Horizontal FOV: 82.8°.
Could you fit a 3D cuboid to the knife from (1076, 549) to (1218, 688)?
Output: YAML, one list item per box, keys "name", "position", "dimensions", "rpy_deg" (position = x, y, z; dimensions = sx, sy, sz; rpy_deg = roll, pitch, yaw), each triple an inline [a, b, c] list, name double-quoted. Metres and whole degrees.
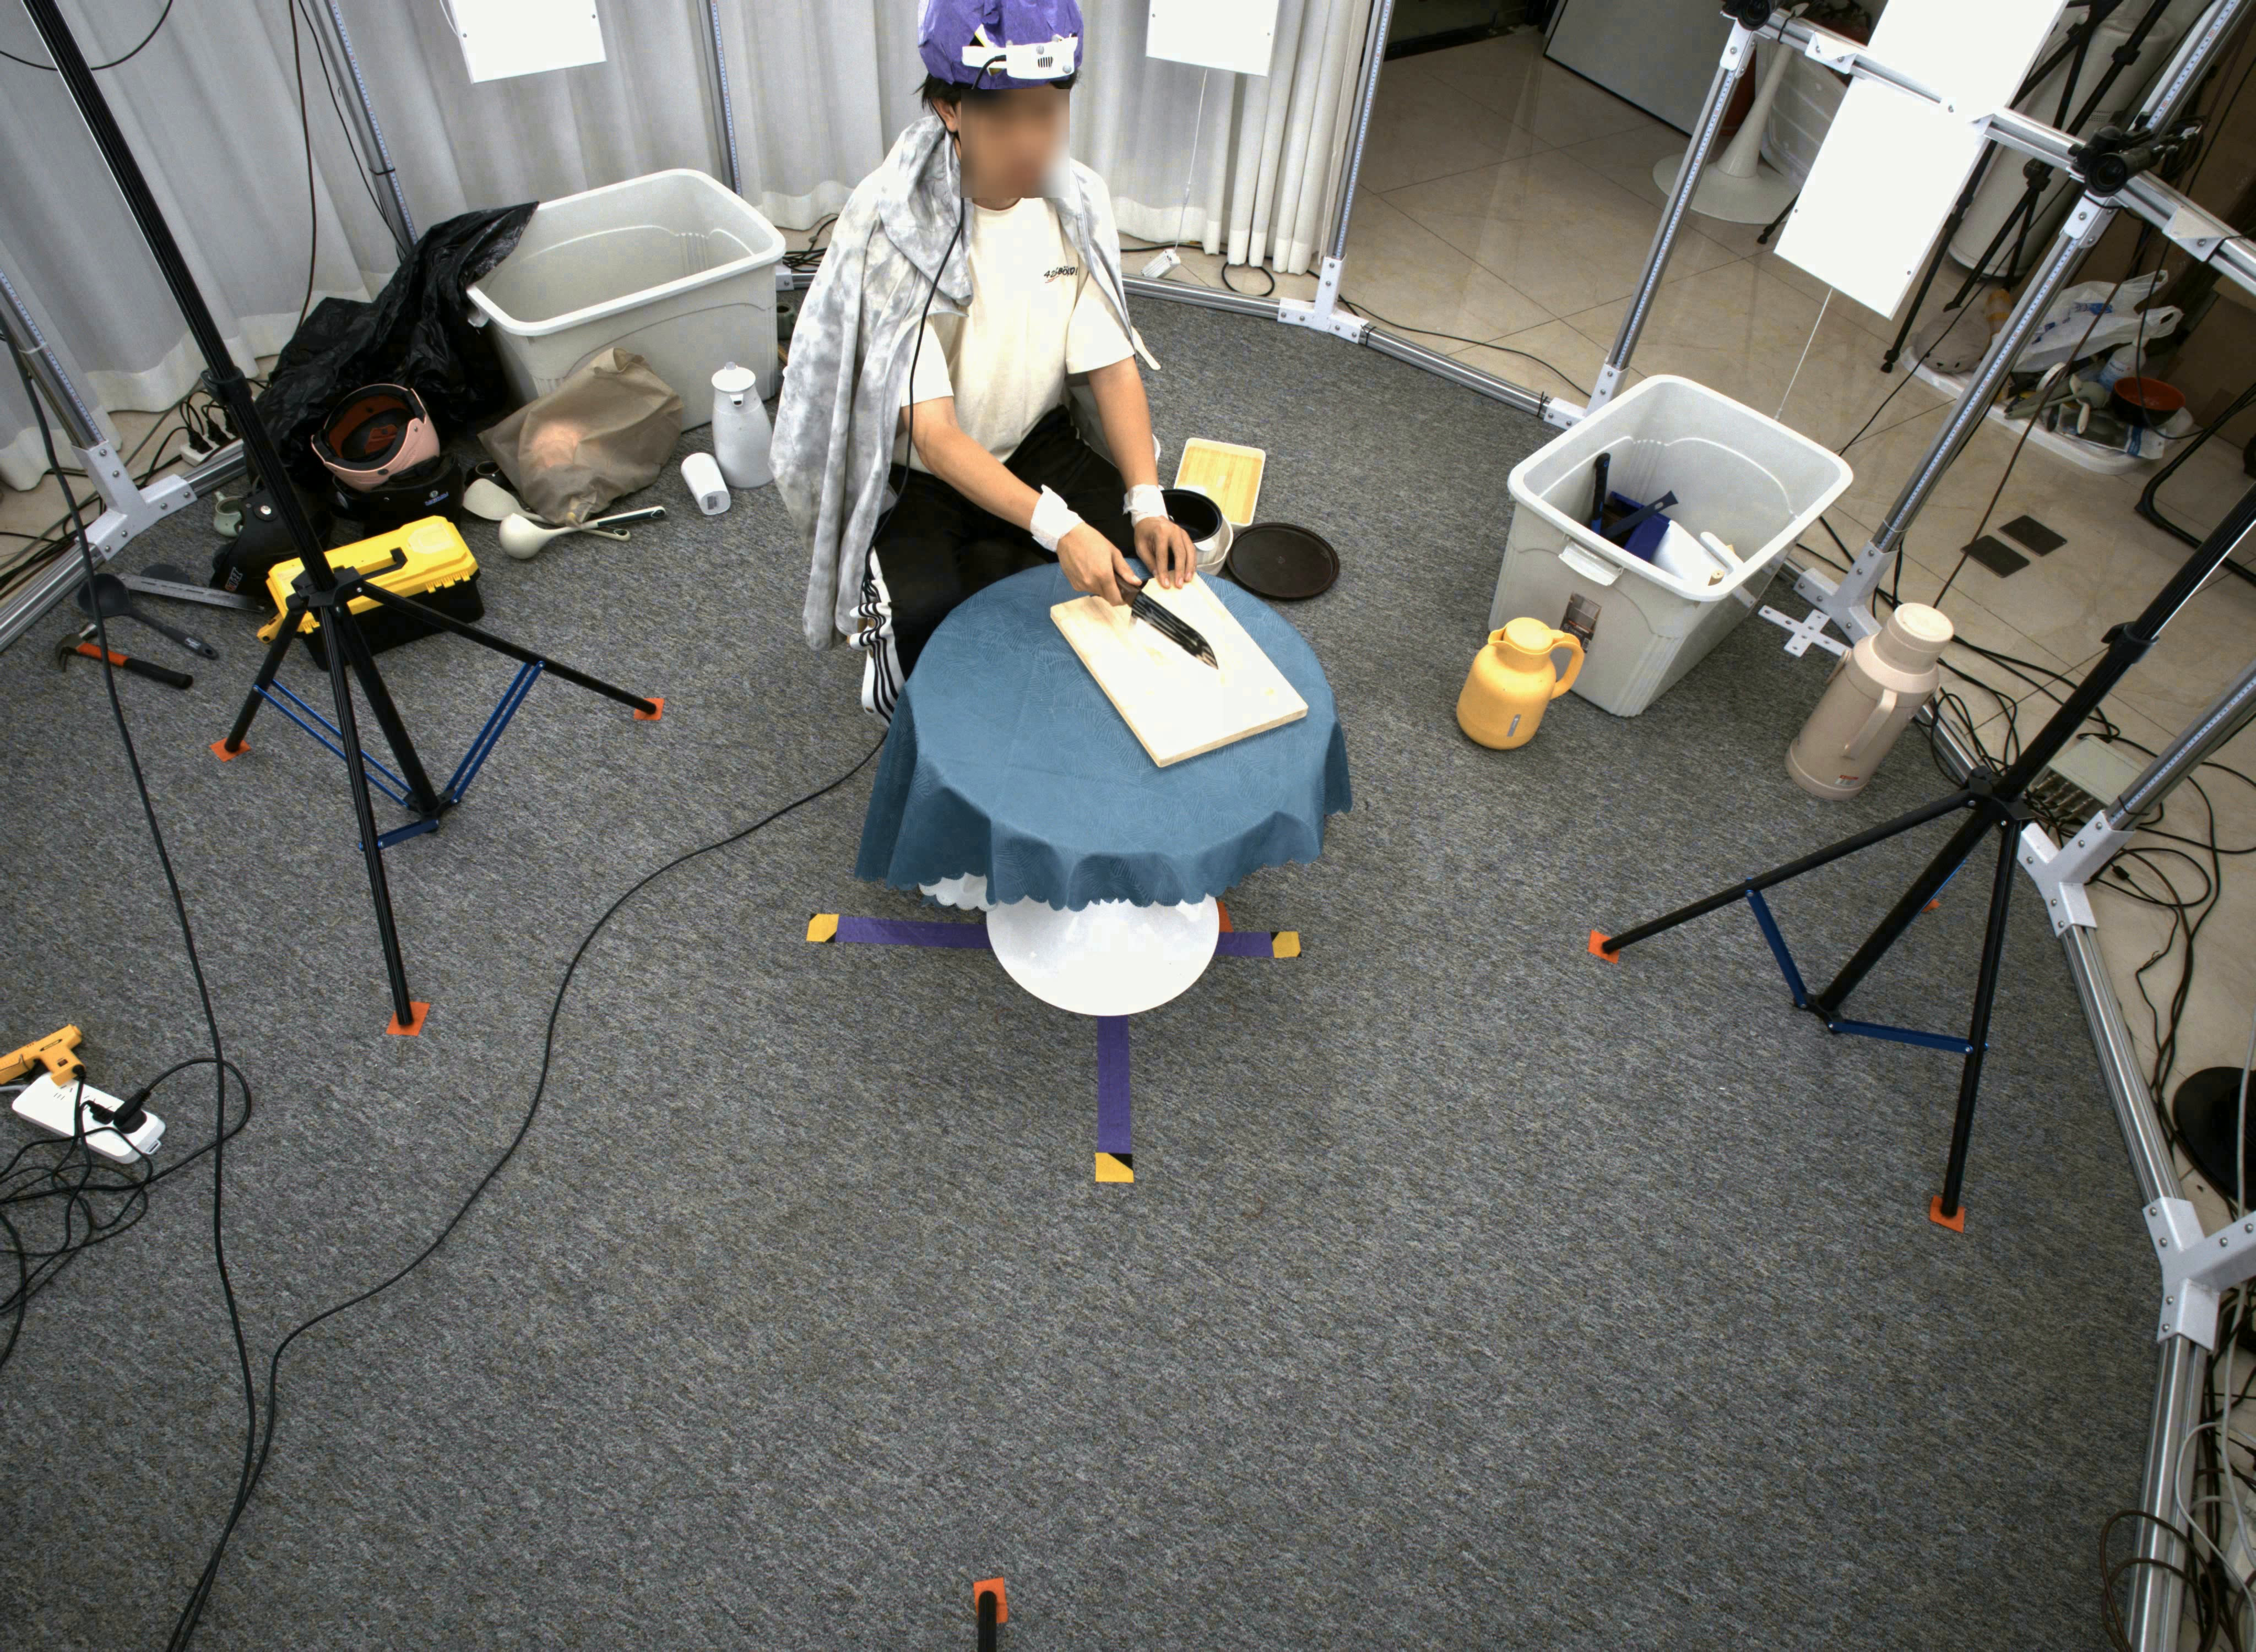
- name: "knife"
  position: [0.026, -0.300, 1.853]
  dimensions: [0.304, 0.066, 0.024]
  rpy_deg: [41, 44, 24]

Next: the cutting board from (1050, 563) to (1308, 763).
- name: "cutting board"
  position: [0.067, -0.245, 1.868]
  dimensions: [0.251, 0.023, 0.356]
  rpy_deg: [-20, 53, -21]
